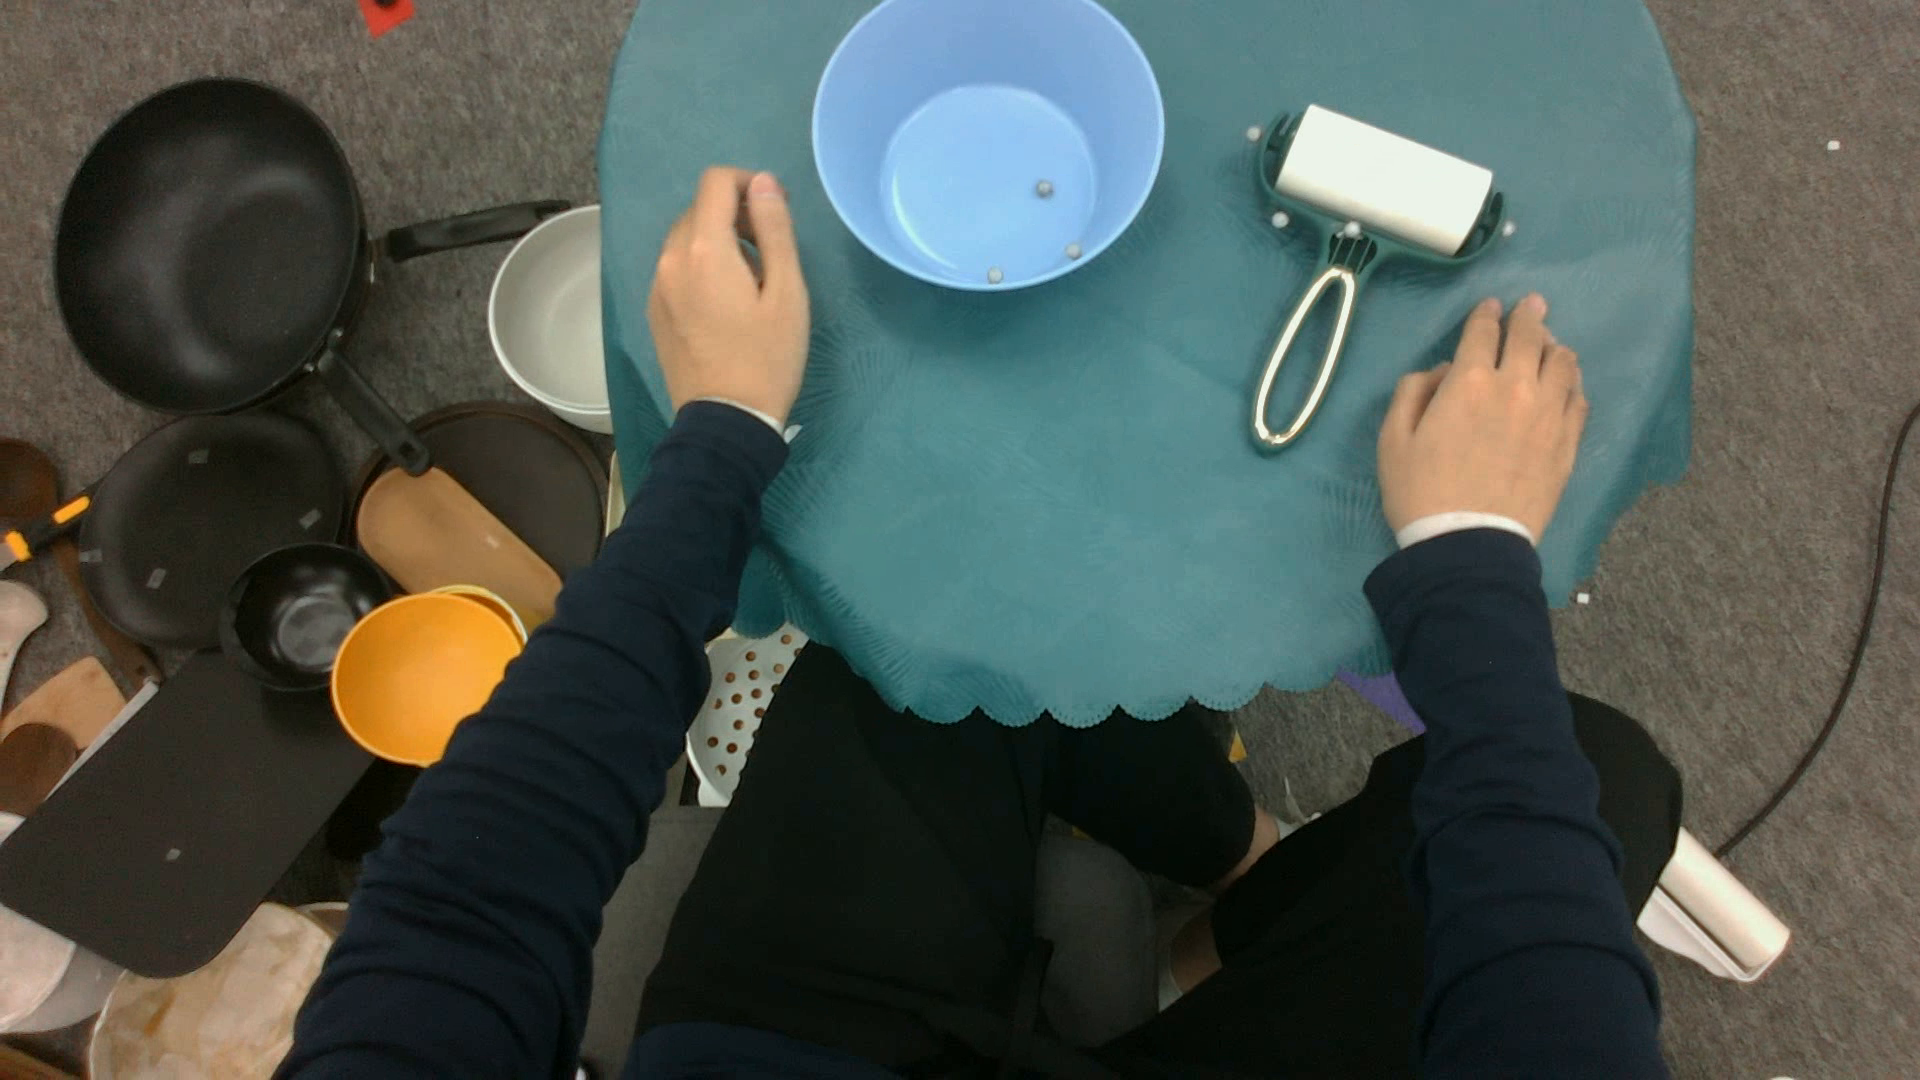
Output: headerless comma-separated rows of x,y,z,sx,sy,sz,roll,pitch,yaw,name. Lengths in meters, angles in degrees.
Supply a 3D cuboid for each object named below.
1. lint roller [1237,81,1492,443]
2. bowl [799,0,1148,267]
0.188,-0.138,0.718,0.134,0.048,0.180,22,81,6,lint roller
0.007,-0.212,0.719,0.176,0.070,0.176,0,77,0,bowl
